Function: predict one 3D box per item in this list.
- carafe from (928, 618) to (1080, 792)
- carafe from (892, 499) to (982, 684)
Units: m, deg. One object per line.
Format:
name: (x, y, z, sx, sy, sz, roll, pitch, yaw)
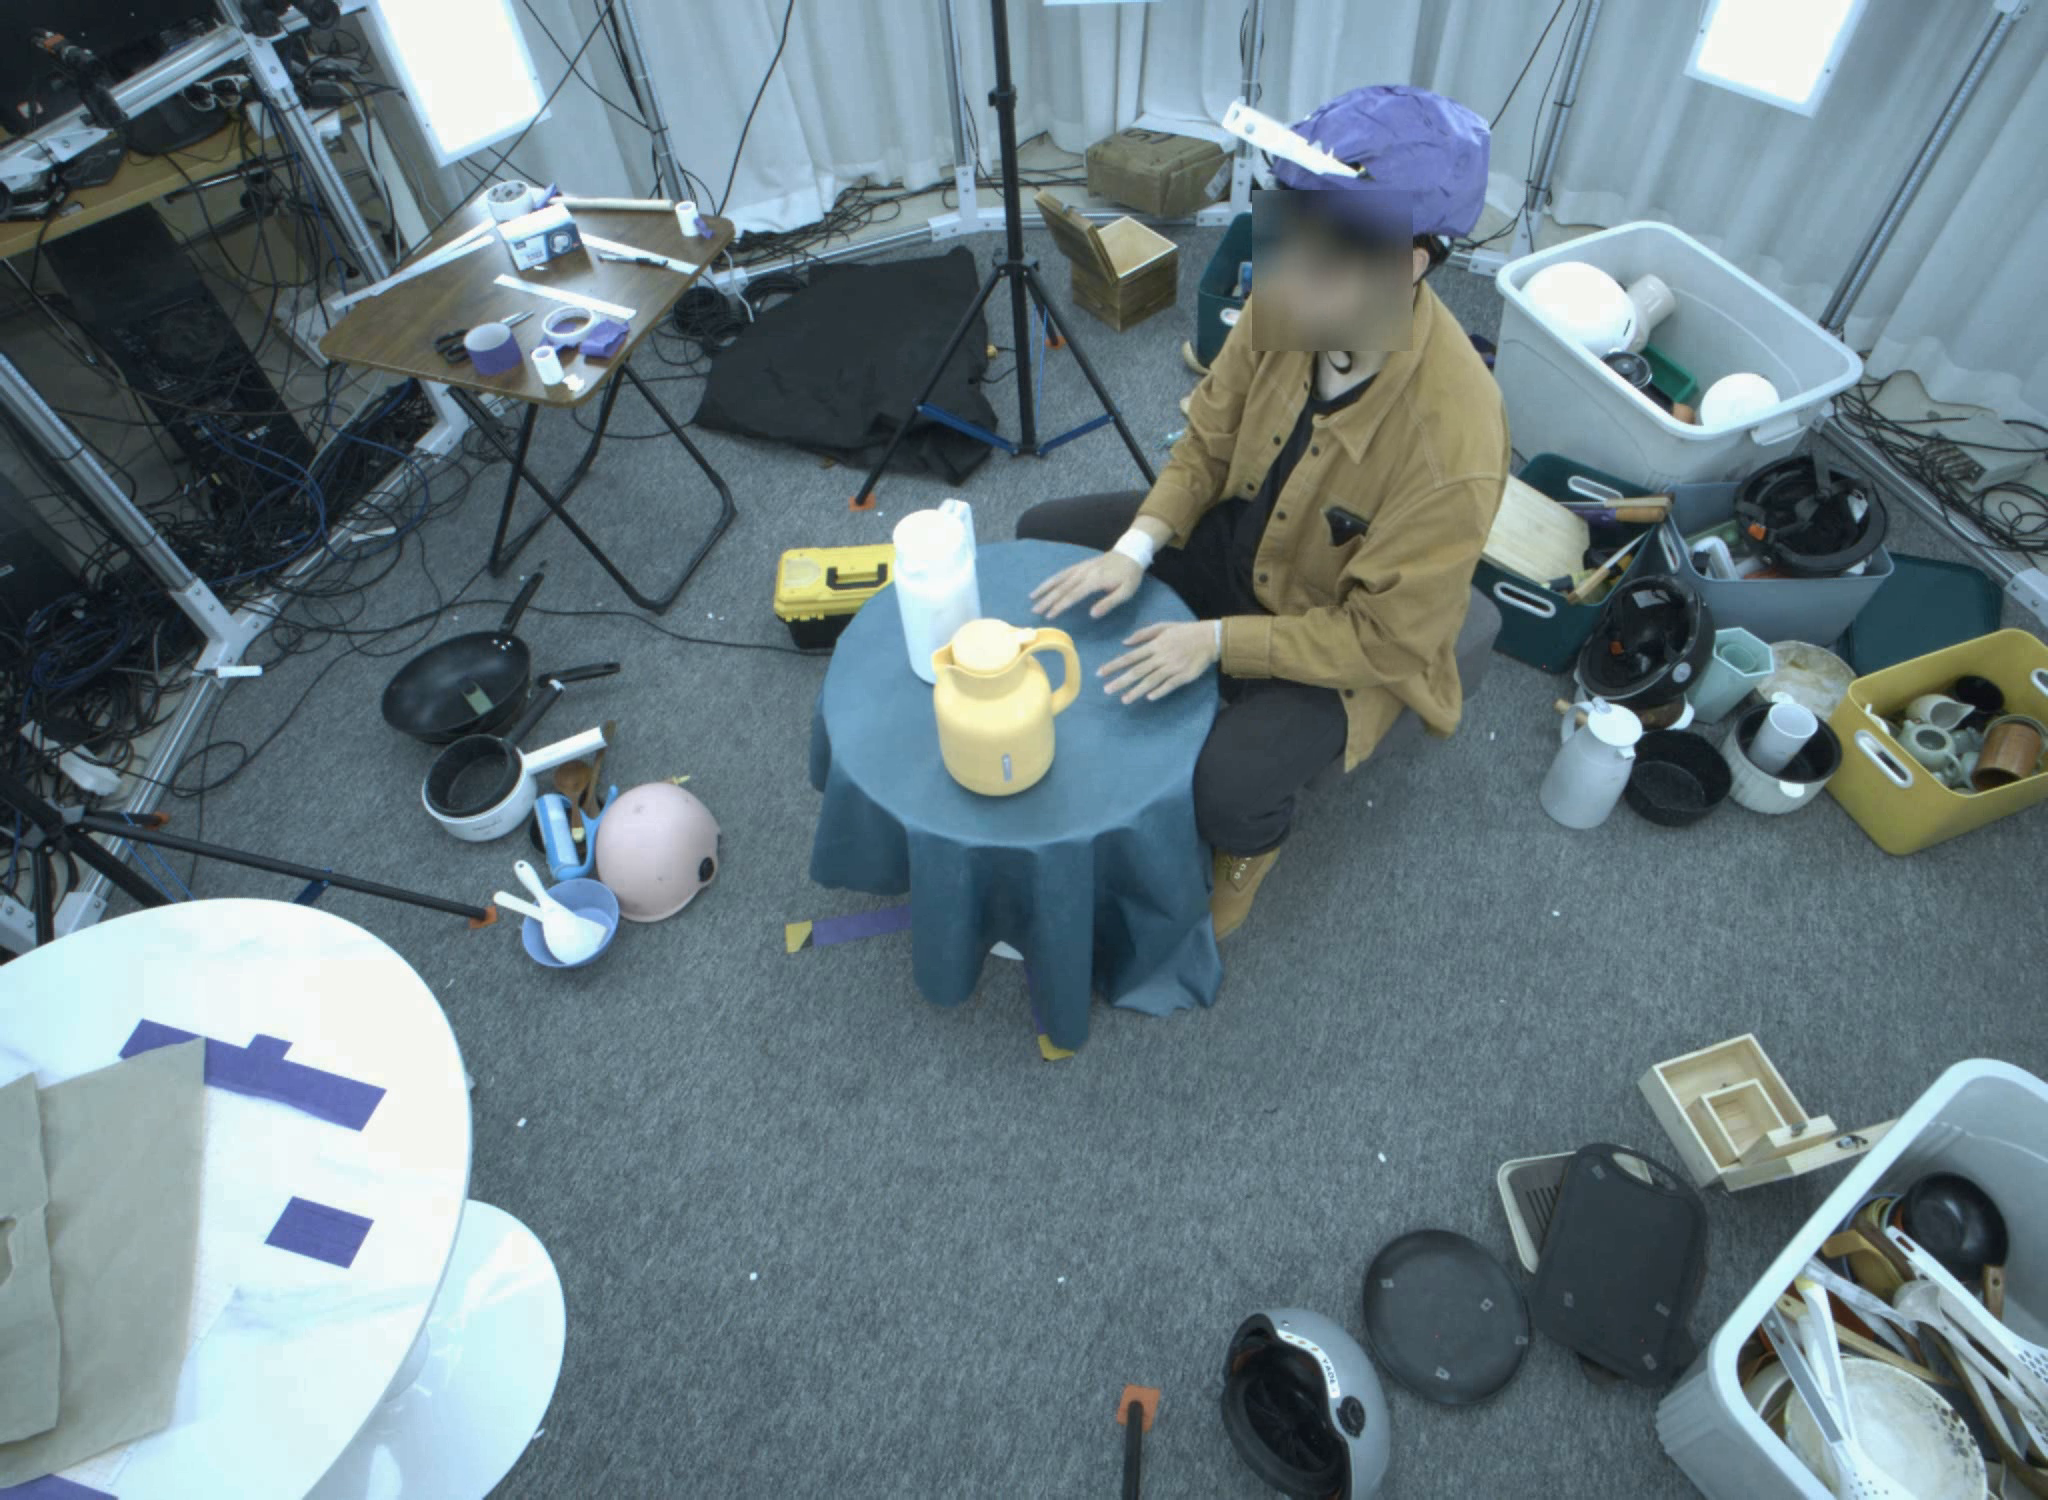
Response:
carafe: (-0.023, -0.069, 1.670, 0.203, 0.263, 0.161, -13, 57, -4)
carafe: (-0.120, -0.232, 1.788, 0.122, 0.272, 0.172, 15, 56, 16)
